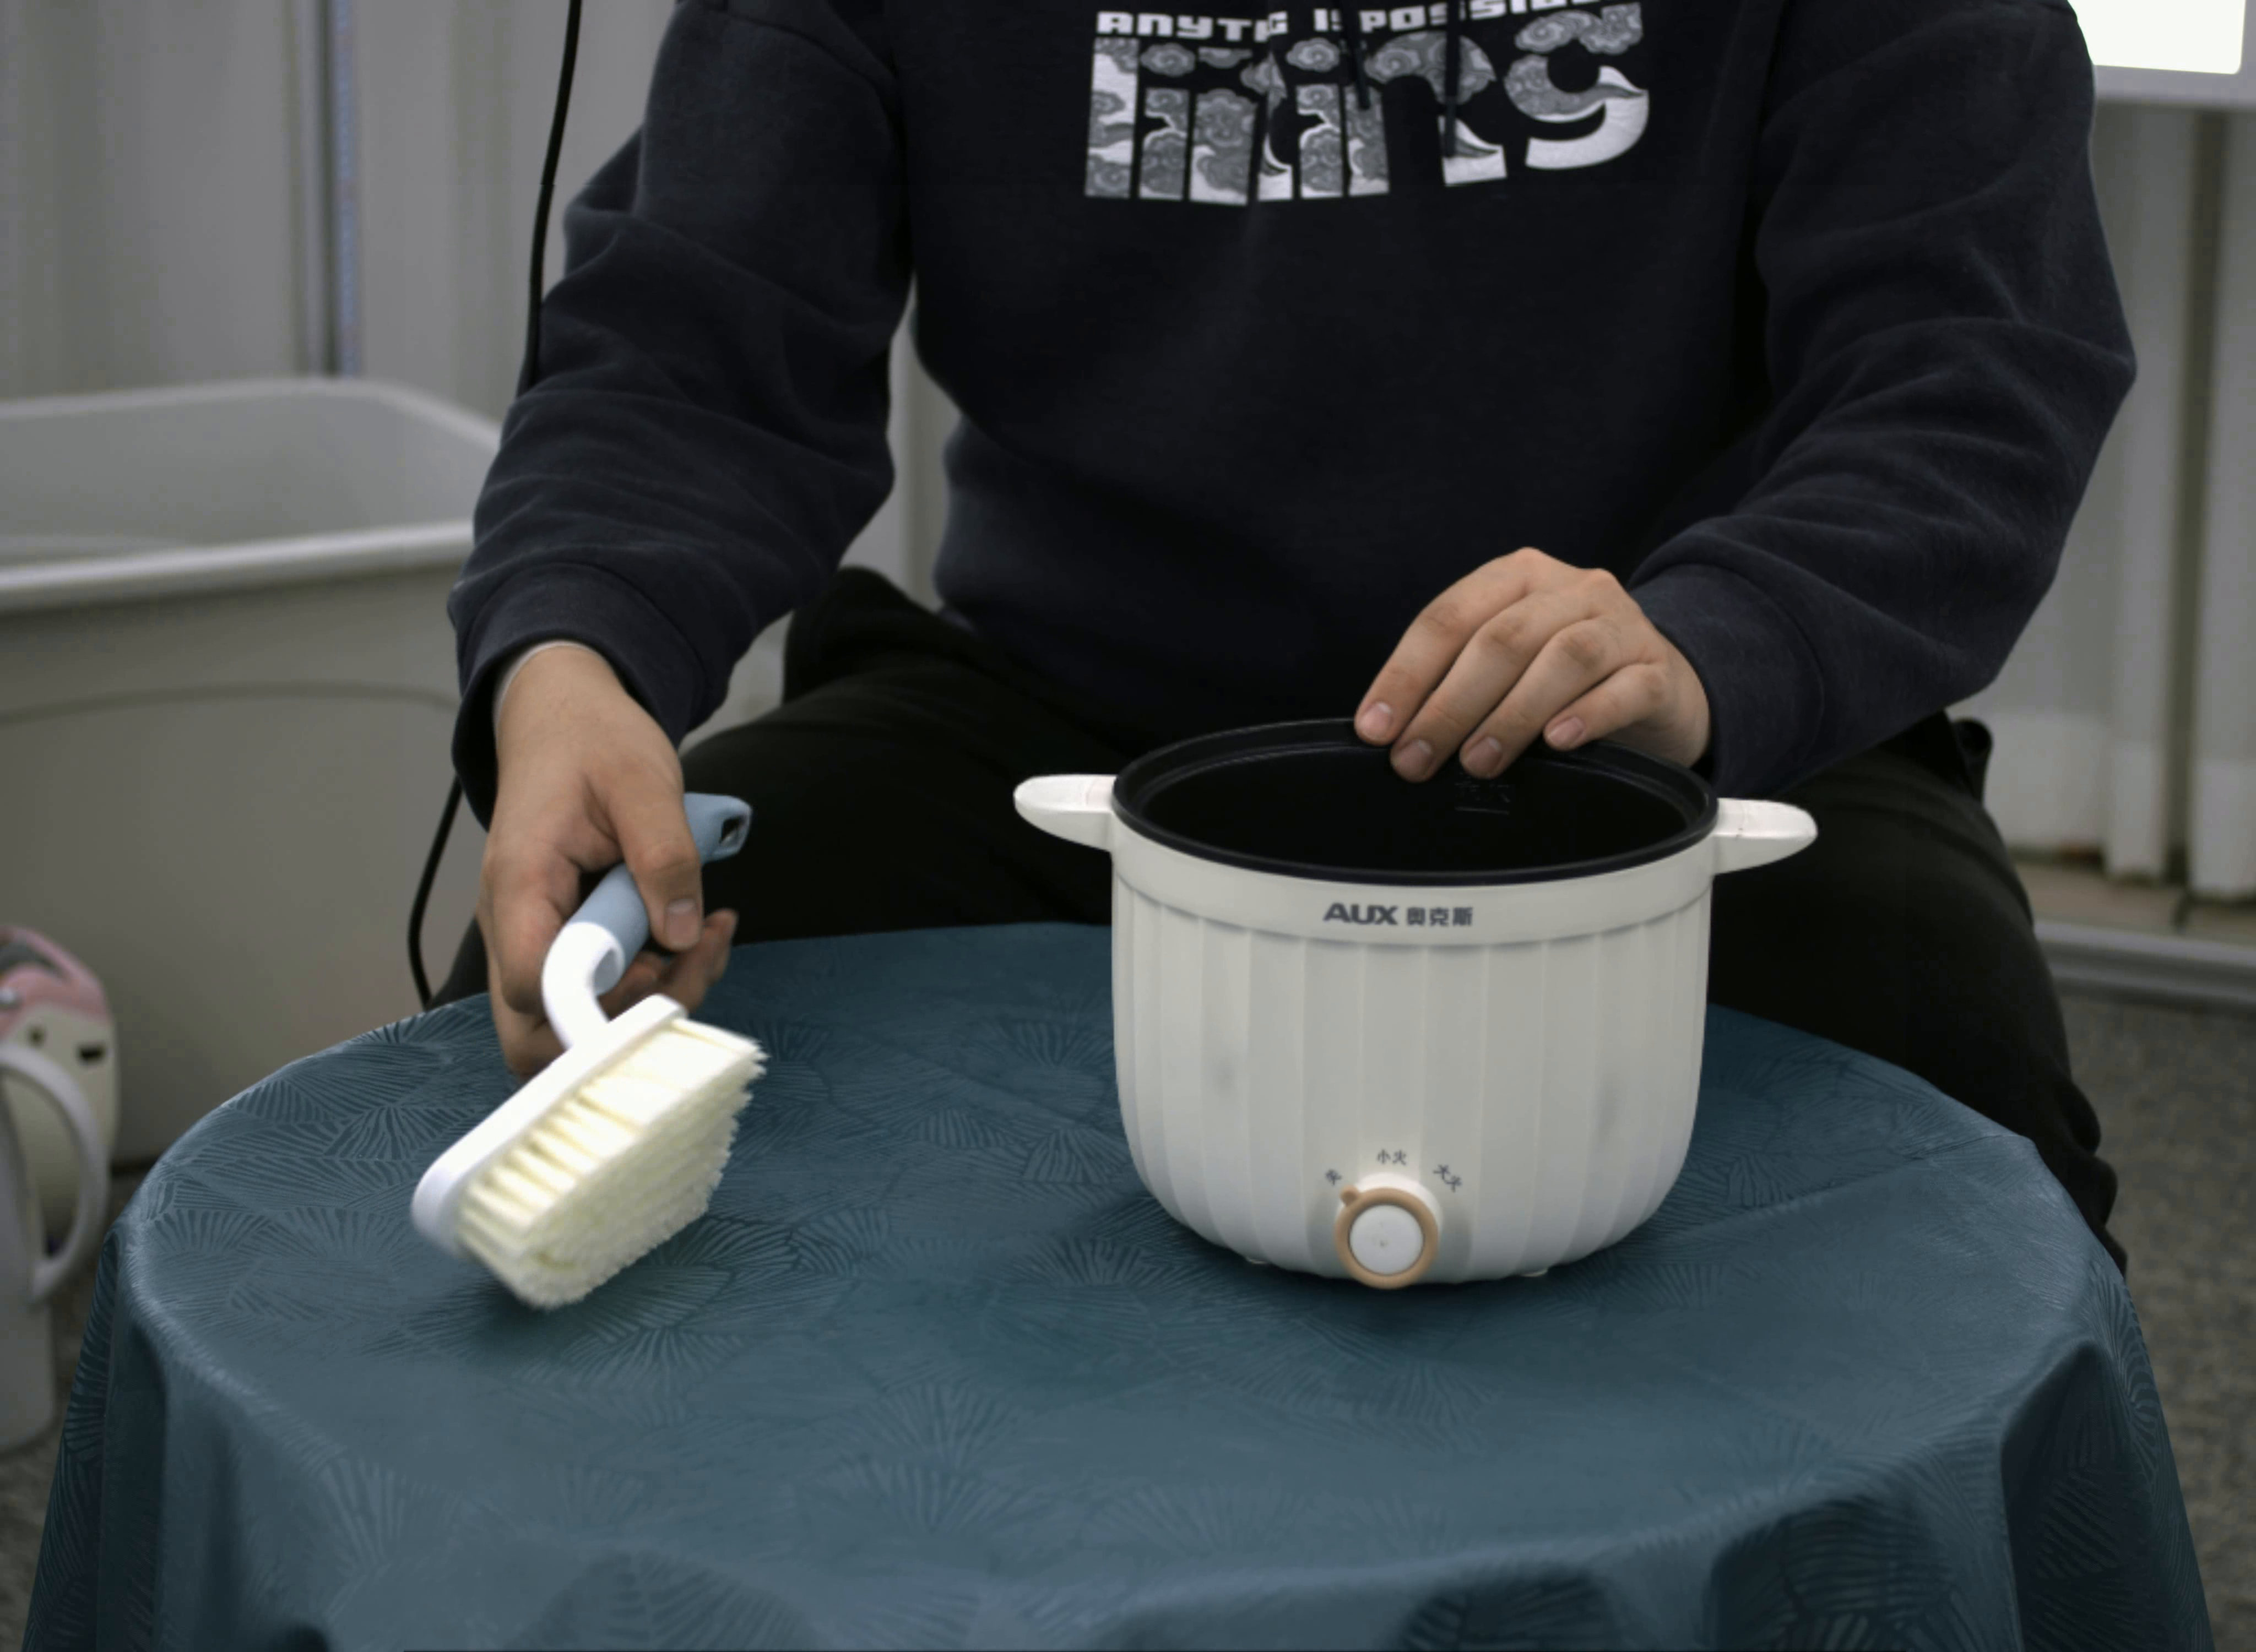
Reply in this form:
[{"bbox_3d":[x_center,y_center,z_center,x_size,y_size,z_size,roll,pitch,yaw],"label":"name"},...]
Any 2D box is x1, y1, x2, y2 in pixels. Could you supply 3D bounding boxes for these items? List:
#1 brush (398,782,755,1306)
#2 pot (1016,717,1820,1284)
[{"bbox_3d":[-0.138,0.059,1.634,0.083,0.085,0.324,-32,12,22],"label":"brush"},{"bbox_3d":[0.085,0.054,1.579,0.239,0.143,0.190,1,13,5],"label":"pot"}]
